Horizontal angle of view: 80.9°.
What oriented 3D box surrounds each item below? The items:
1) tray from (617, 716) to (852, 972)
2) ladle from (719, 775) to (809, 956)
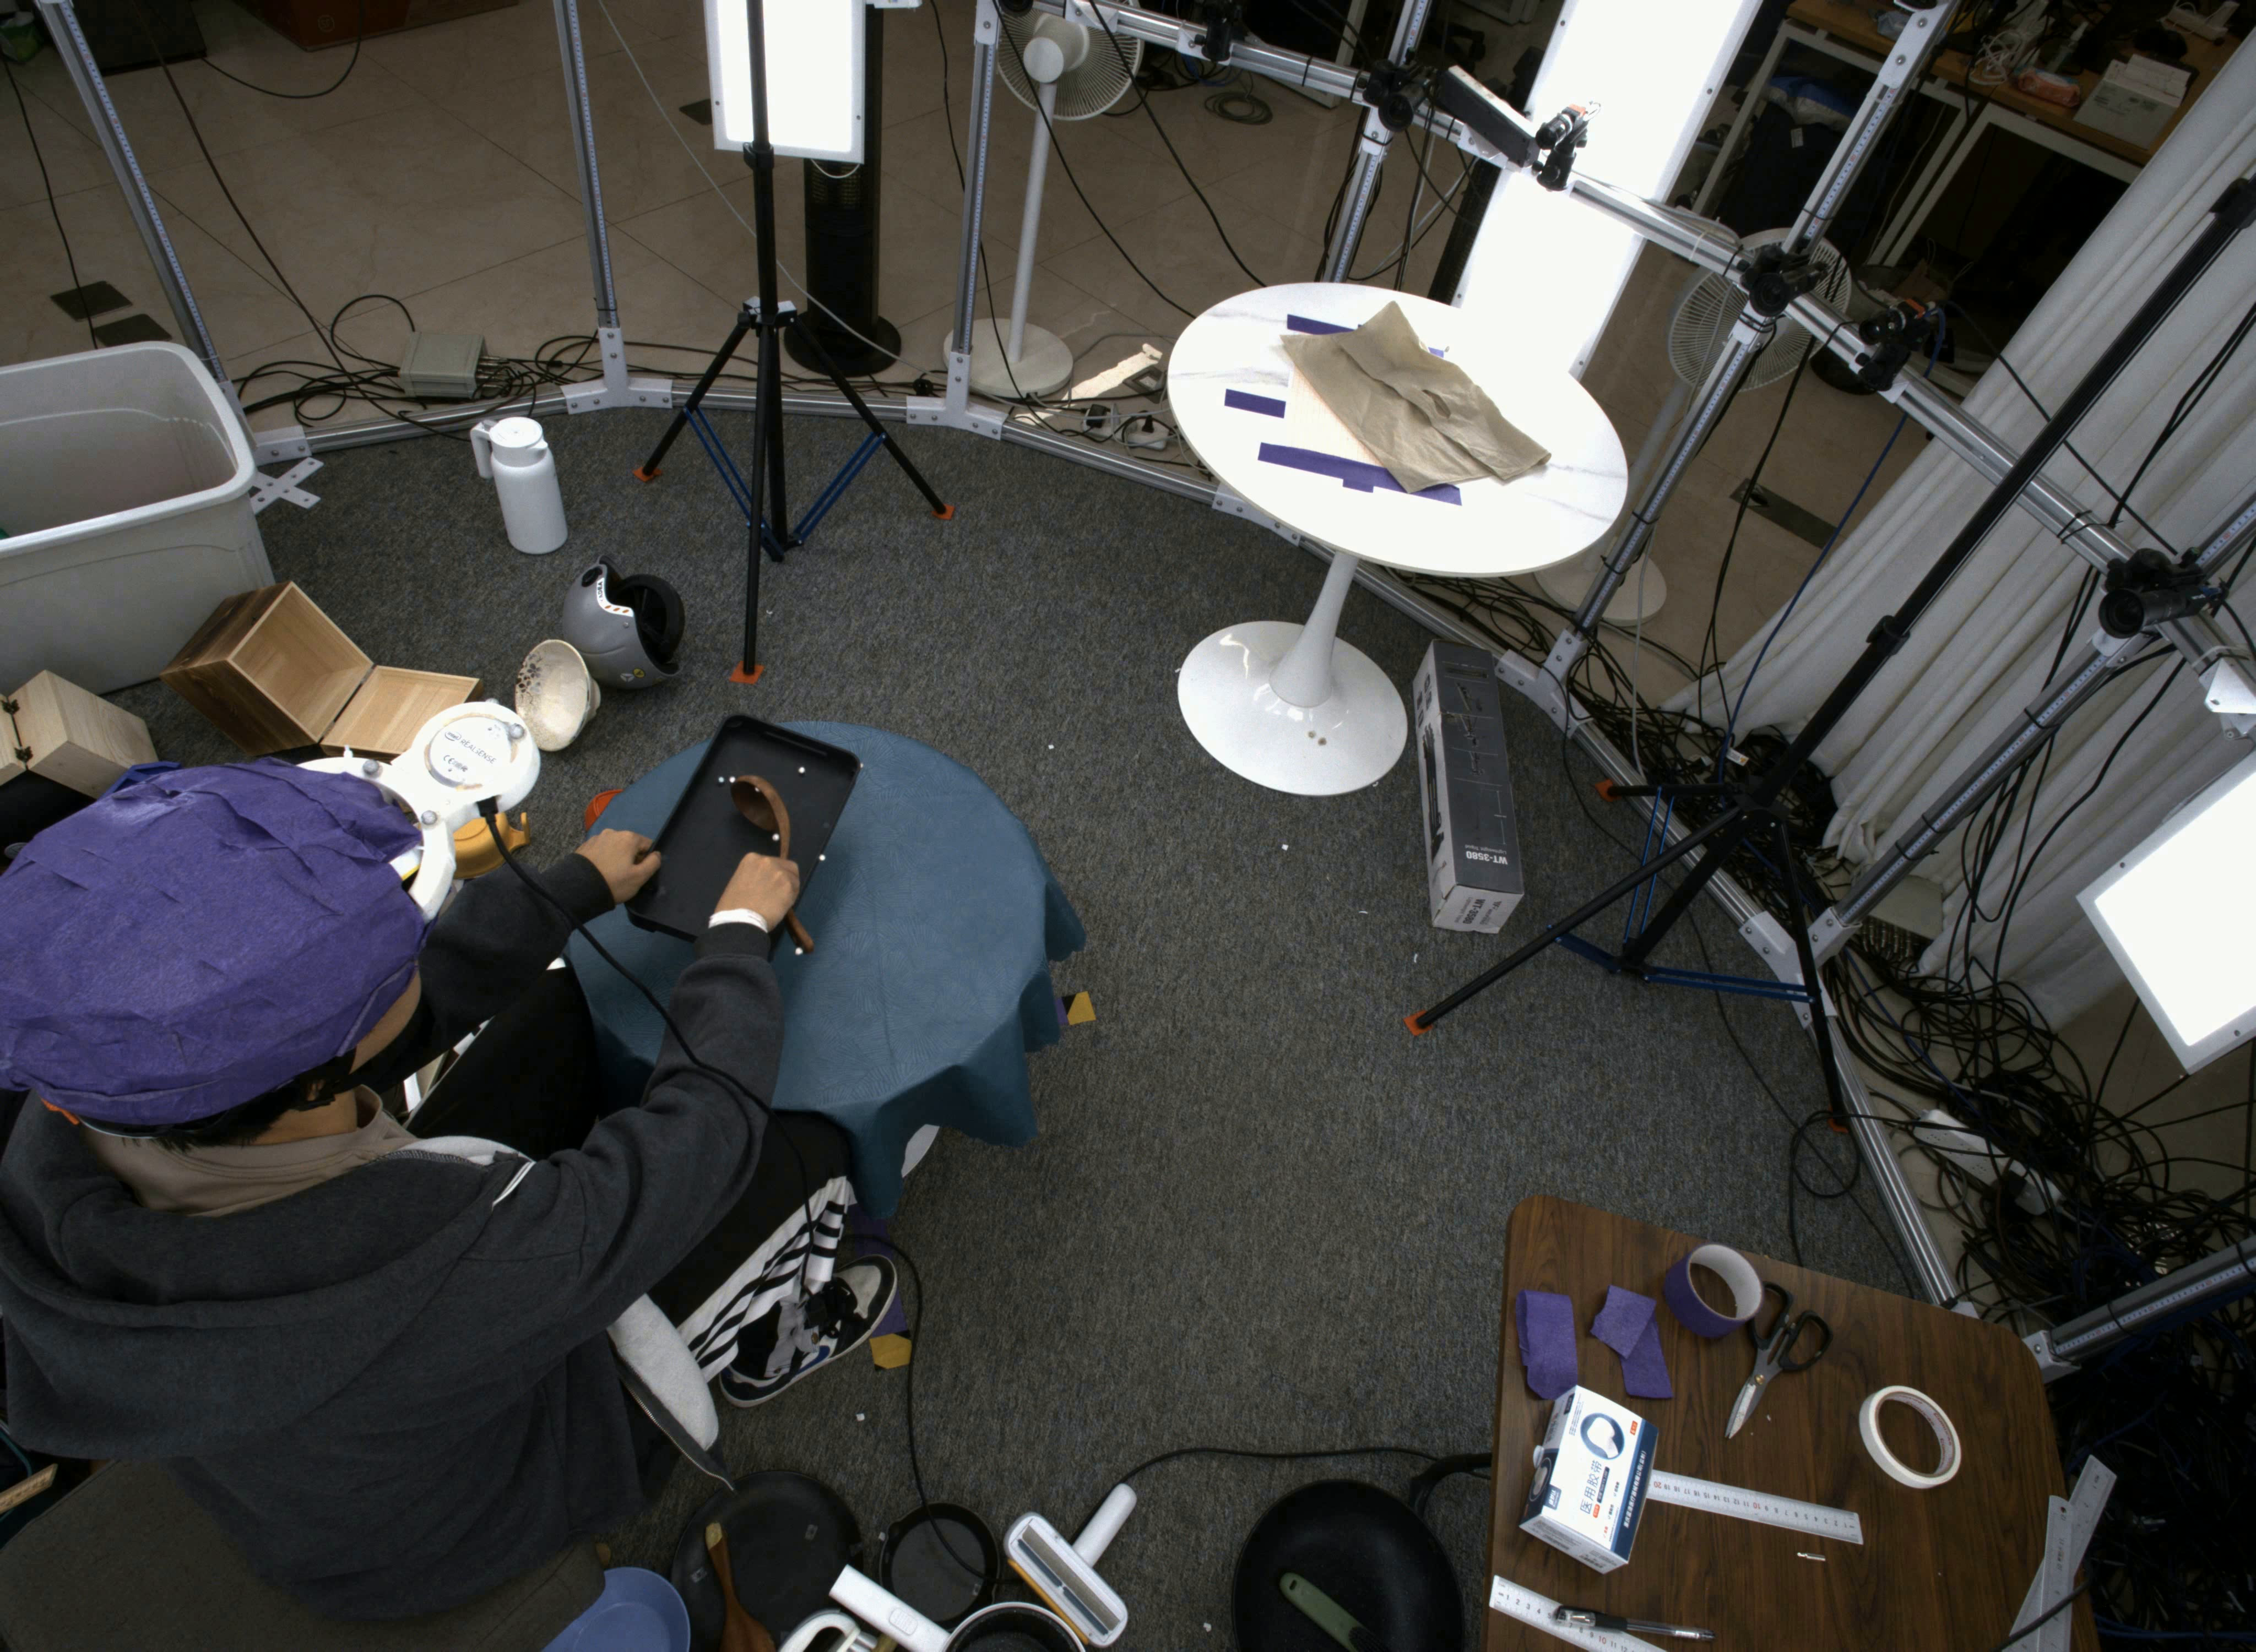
[{"bbox_3d":[-0.468,0.014,1.555,0.184,0.037,0.314,21,52,-6],"label":"tray"},{"bbox_3d":[-0.426,0.046,1.507,0.065,0.078,0.253,-9,55,-19],"label":"ladle"}]
